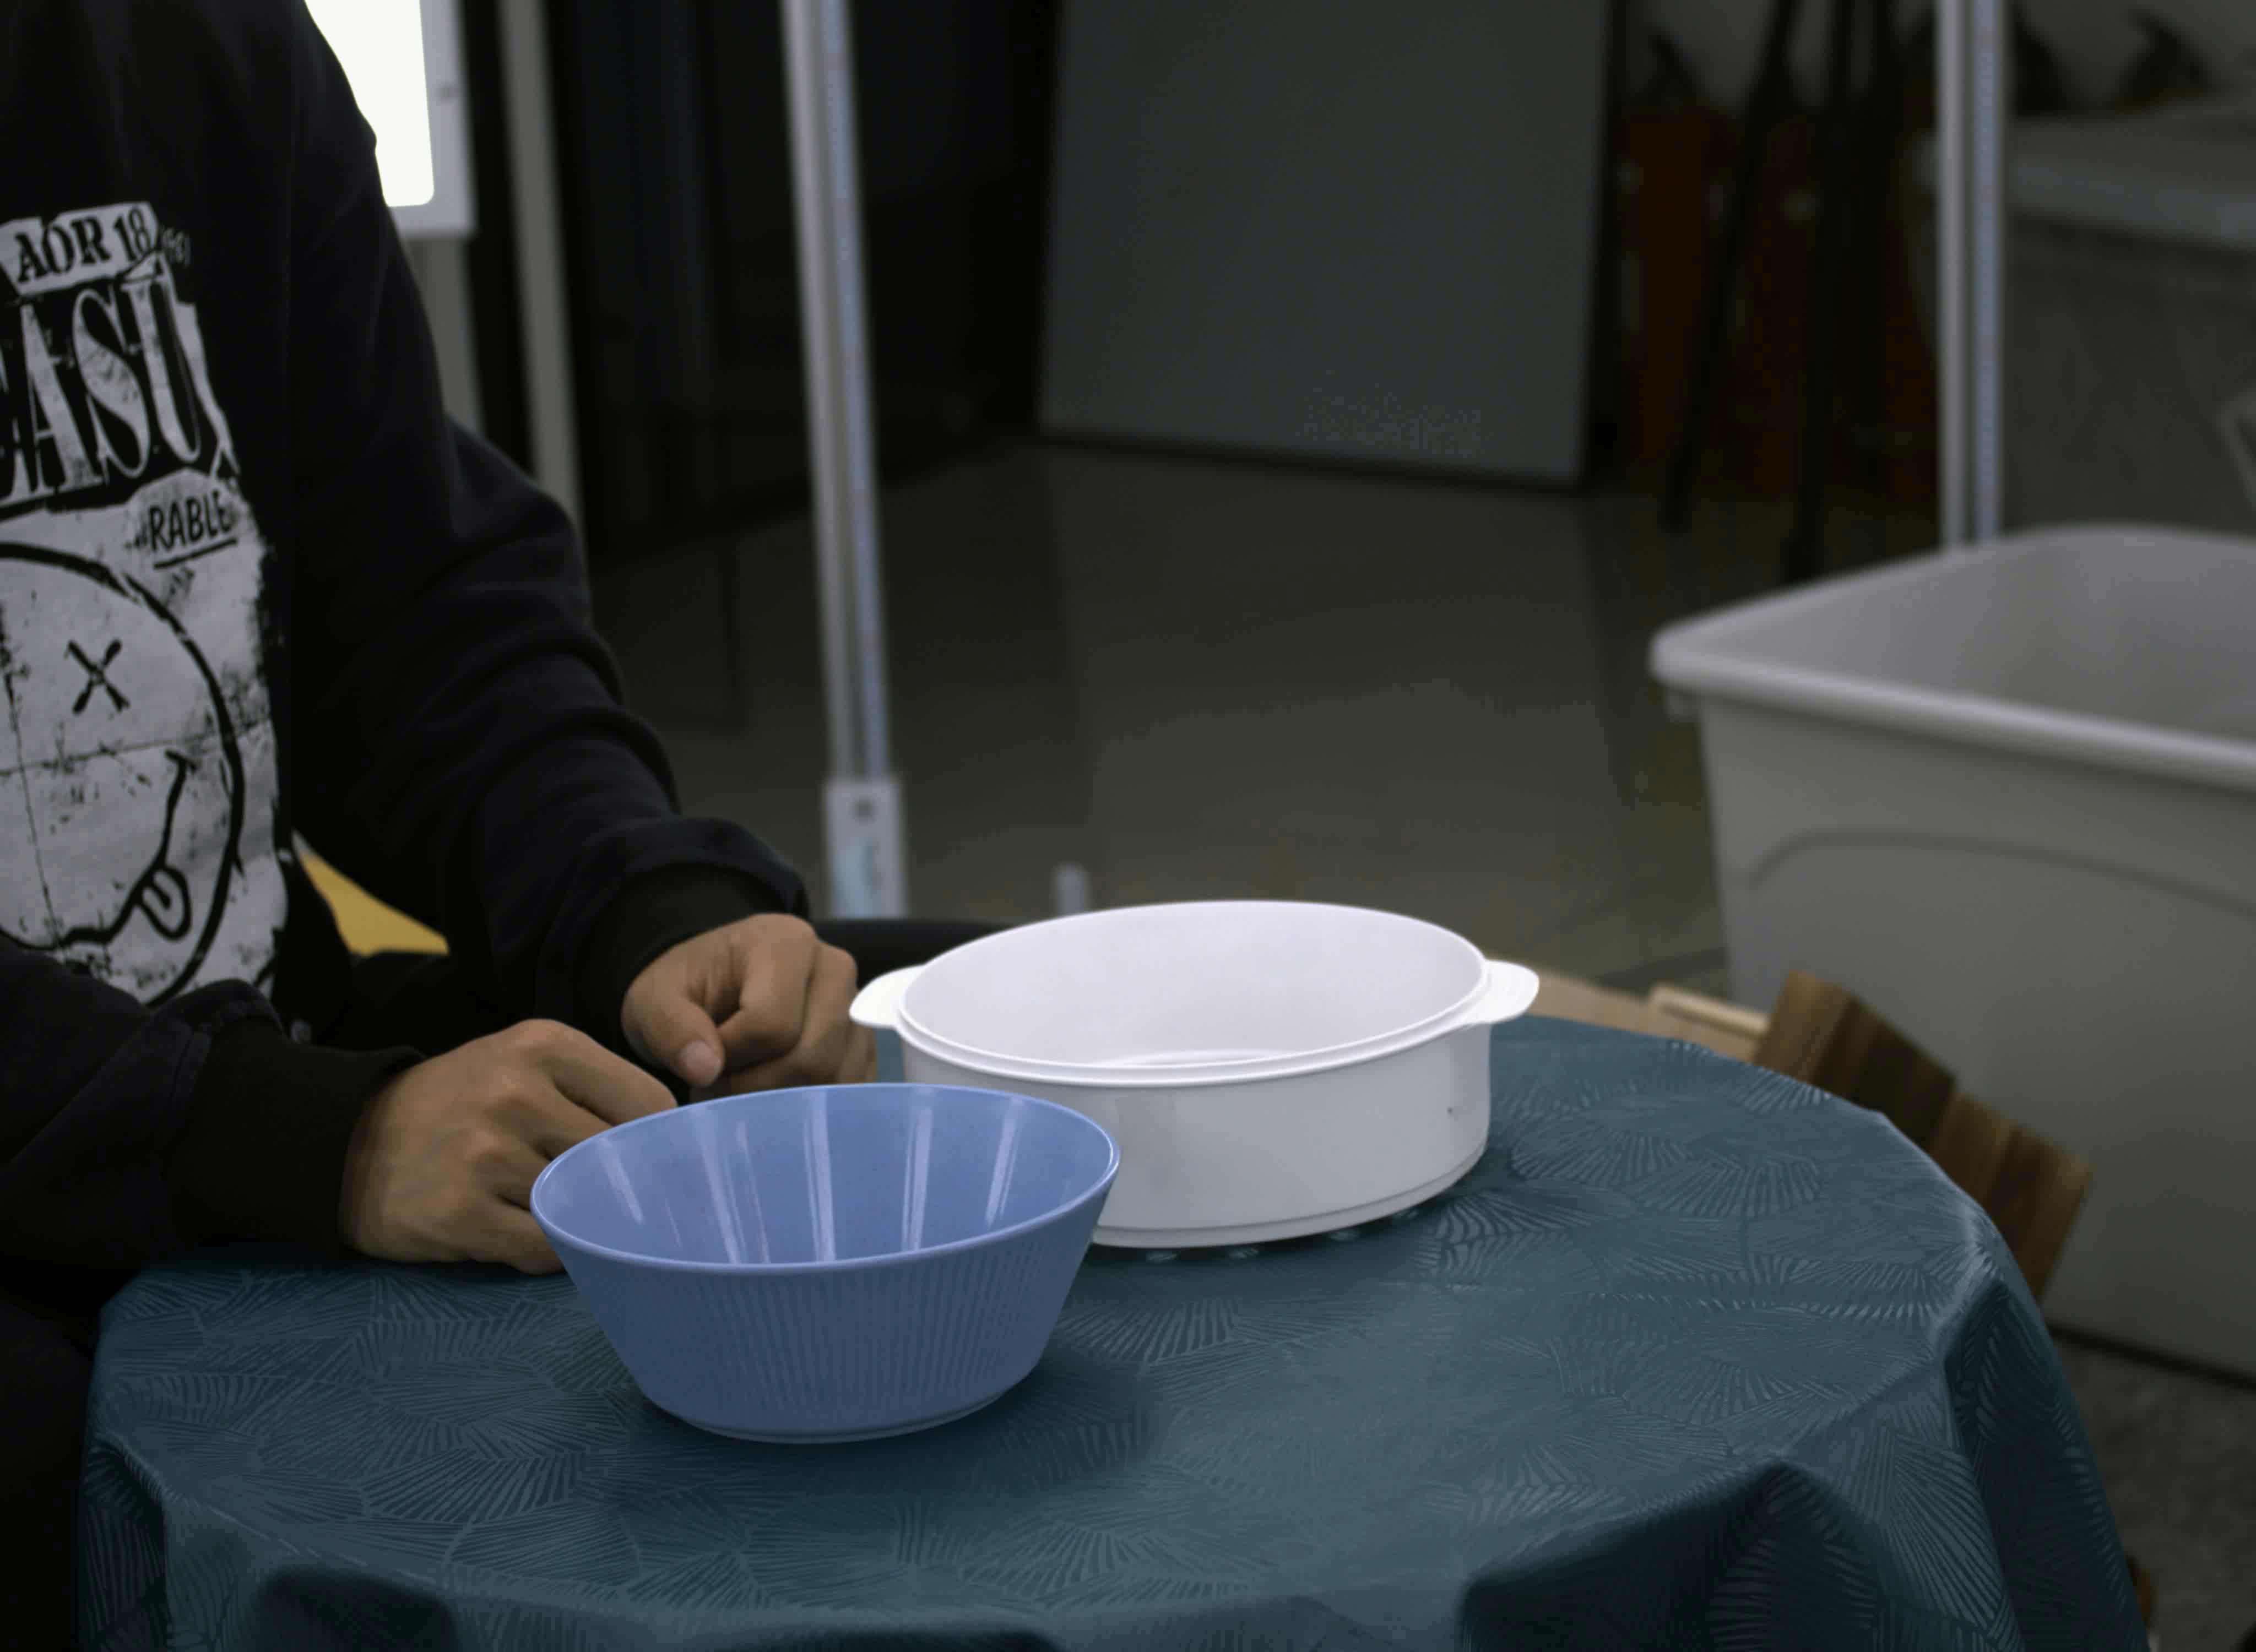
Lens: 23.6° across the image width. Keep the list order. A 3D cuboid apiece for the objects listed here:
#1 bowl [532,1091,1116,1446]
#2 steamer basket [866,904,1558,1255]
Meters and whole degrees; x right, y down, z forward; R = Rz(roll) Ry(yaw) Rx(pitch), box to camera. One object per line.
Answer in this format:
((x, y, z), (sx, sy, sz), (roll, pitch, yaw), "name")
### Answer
((-0.087, 0.133, 1.600), (0.174, 0.071, 0.176), (-4, 13, 0), "bowl")
((0.028, 0.083, 1.777), (0.229, 0.070, 0.201), (1, 14, 11), "steamer basket")
